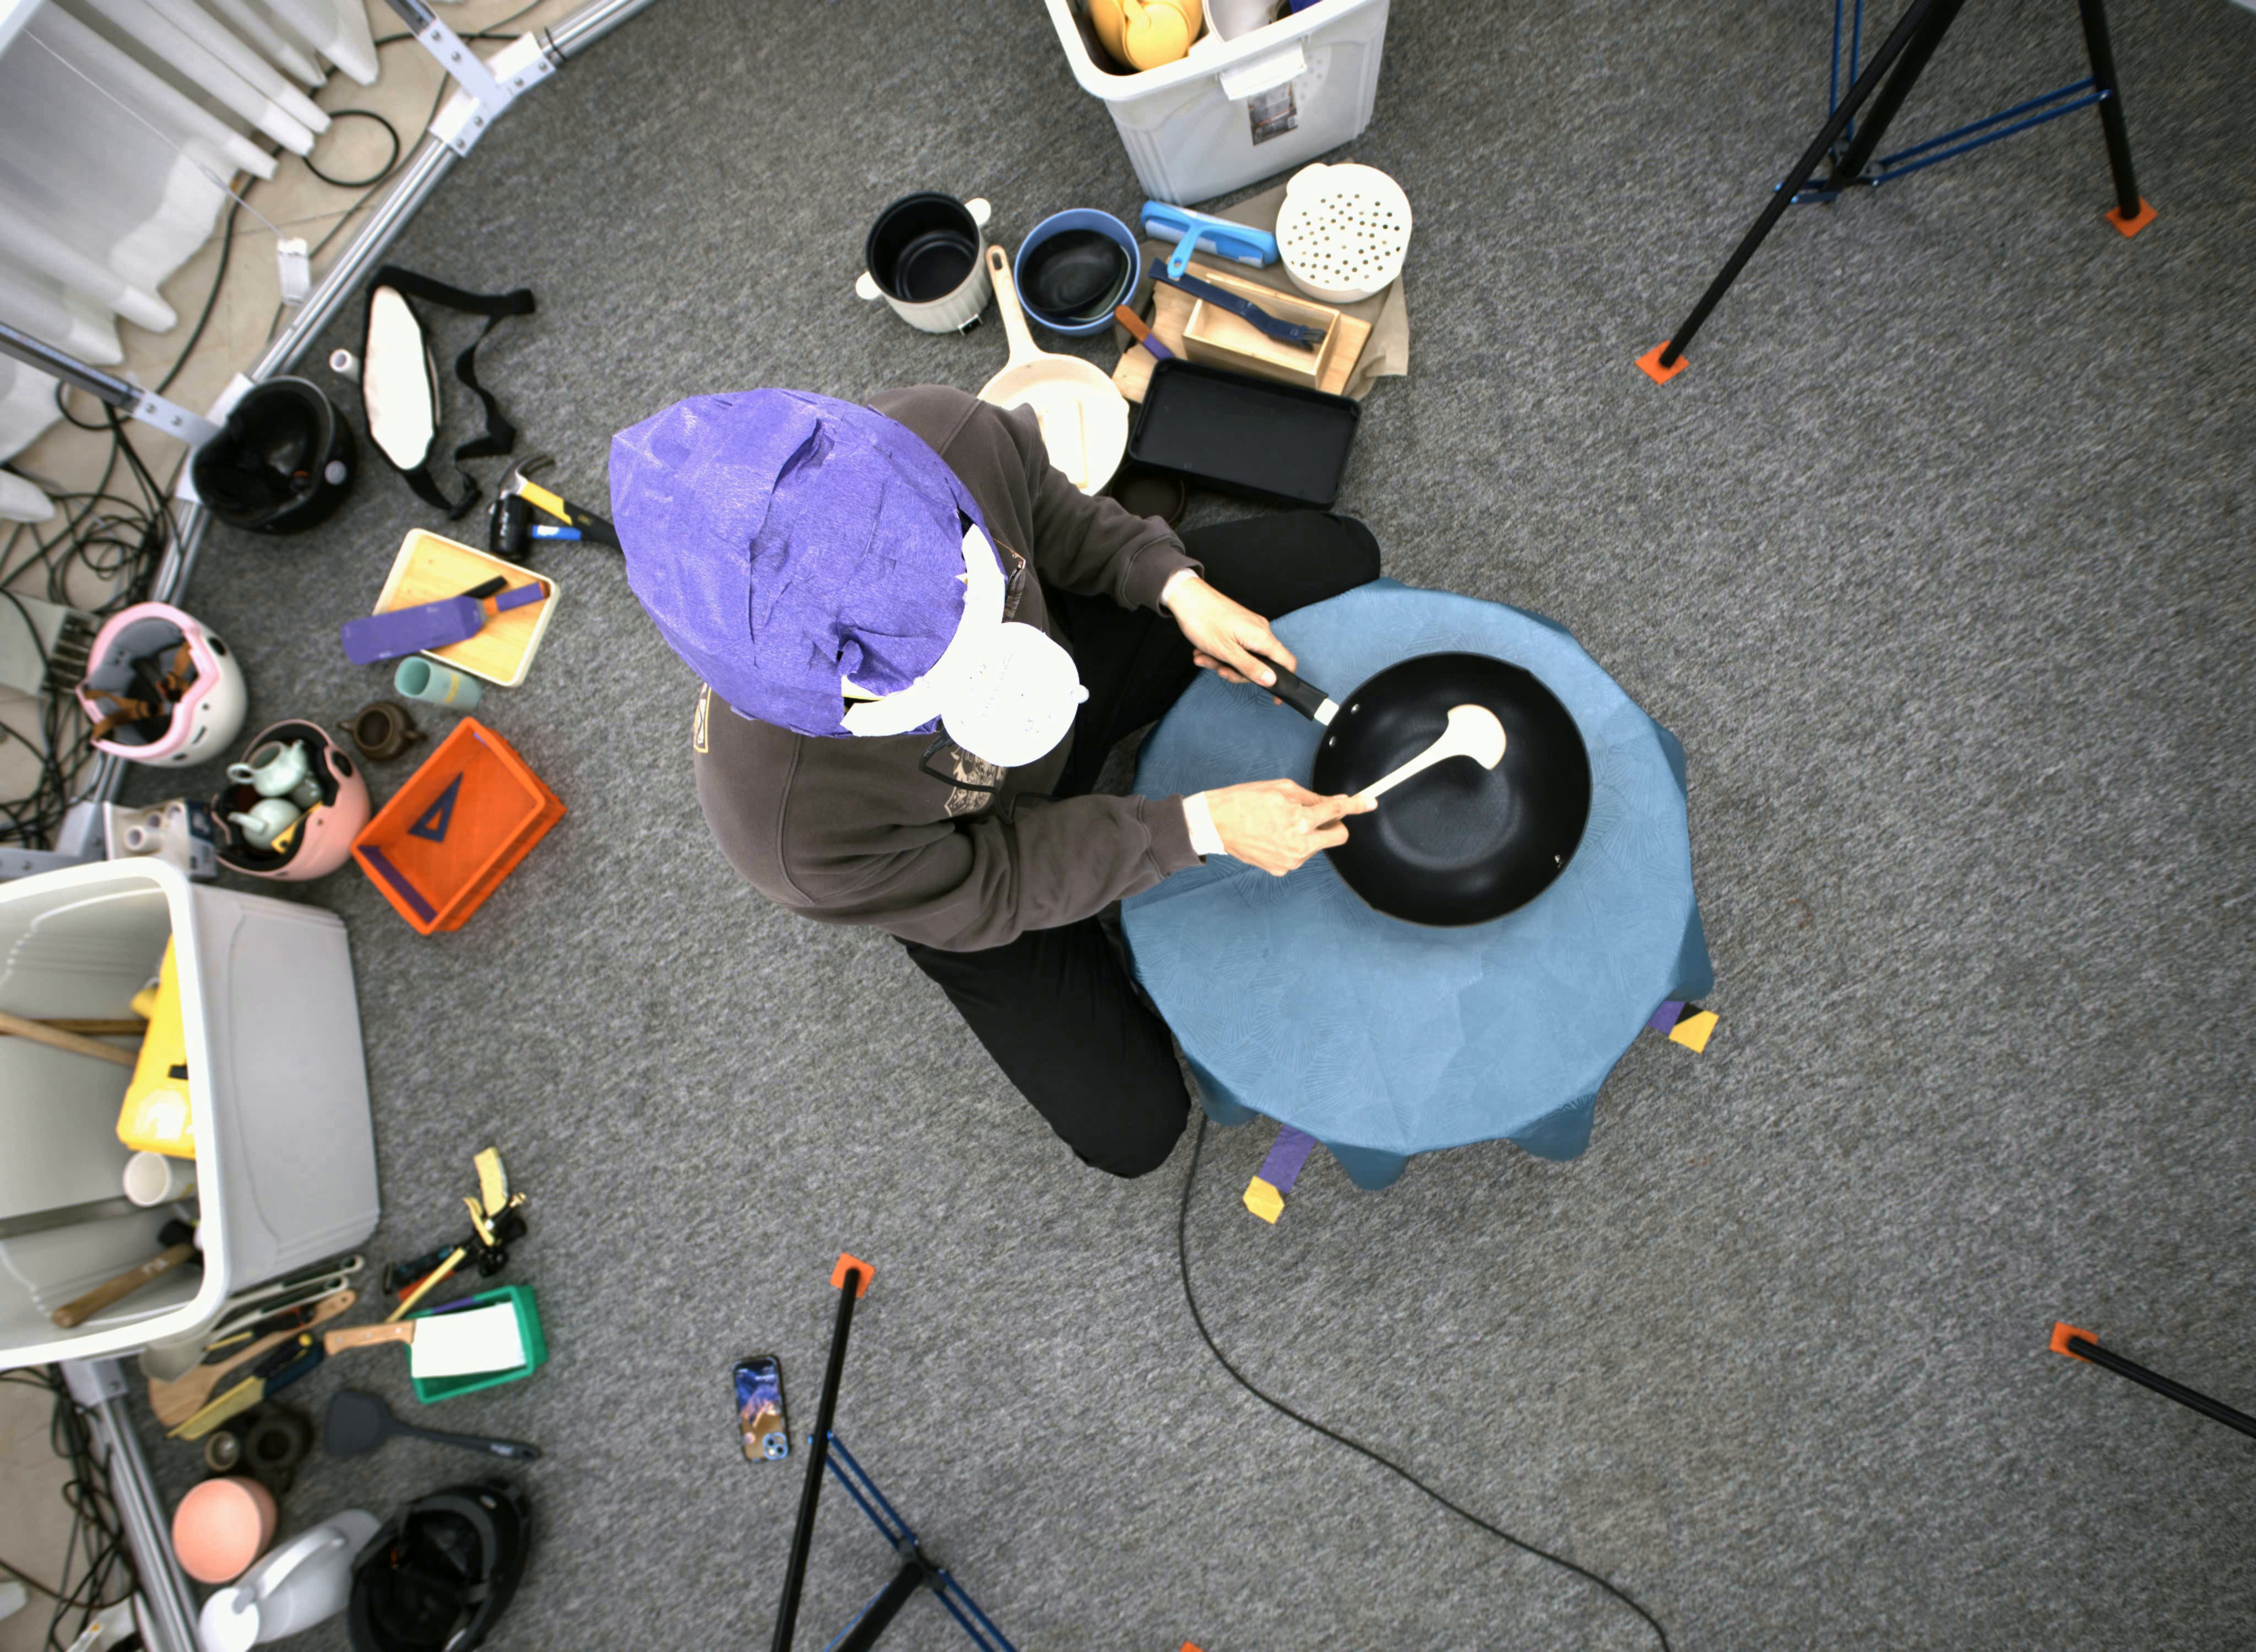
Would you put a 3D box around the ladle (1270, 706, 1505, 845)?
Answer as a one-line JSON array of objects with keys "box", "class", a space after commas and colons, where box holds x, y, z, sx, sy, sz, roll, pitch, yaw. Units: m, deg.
[{"box": [0.255, -0.040, 1.373, 0.255, 0.073, 0.071, -28, 78, 3], "class": "ladle"}]

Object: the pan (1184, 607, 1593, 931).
[{"box": [0.253, -0.084, 1.427, 0.462, 0.087, 0.289, 34, 94, 12], "class": "pan"}]
